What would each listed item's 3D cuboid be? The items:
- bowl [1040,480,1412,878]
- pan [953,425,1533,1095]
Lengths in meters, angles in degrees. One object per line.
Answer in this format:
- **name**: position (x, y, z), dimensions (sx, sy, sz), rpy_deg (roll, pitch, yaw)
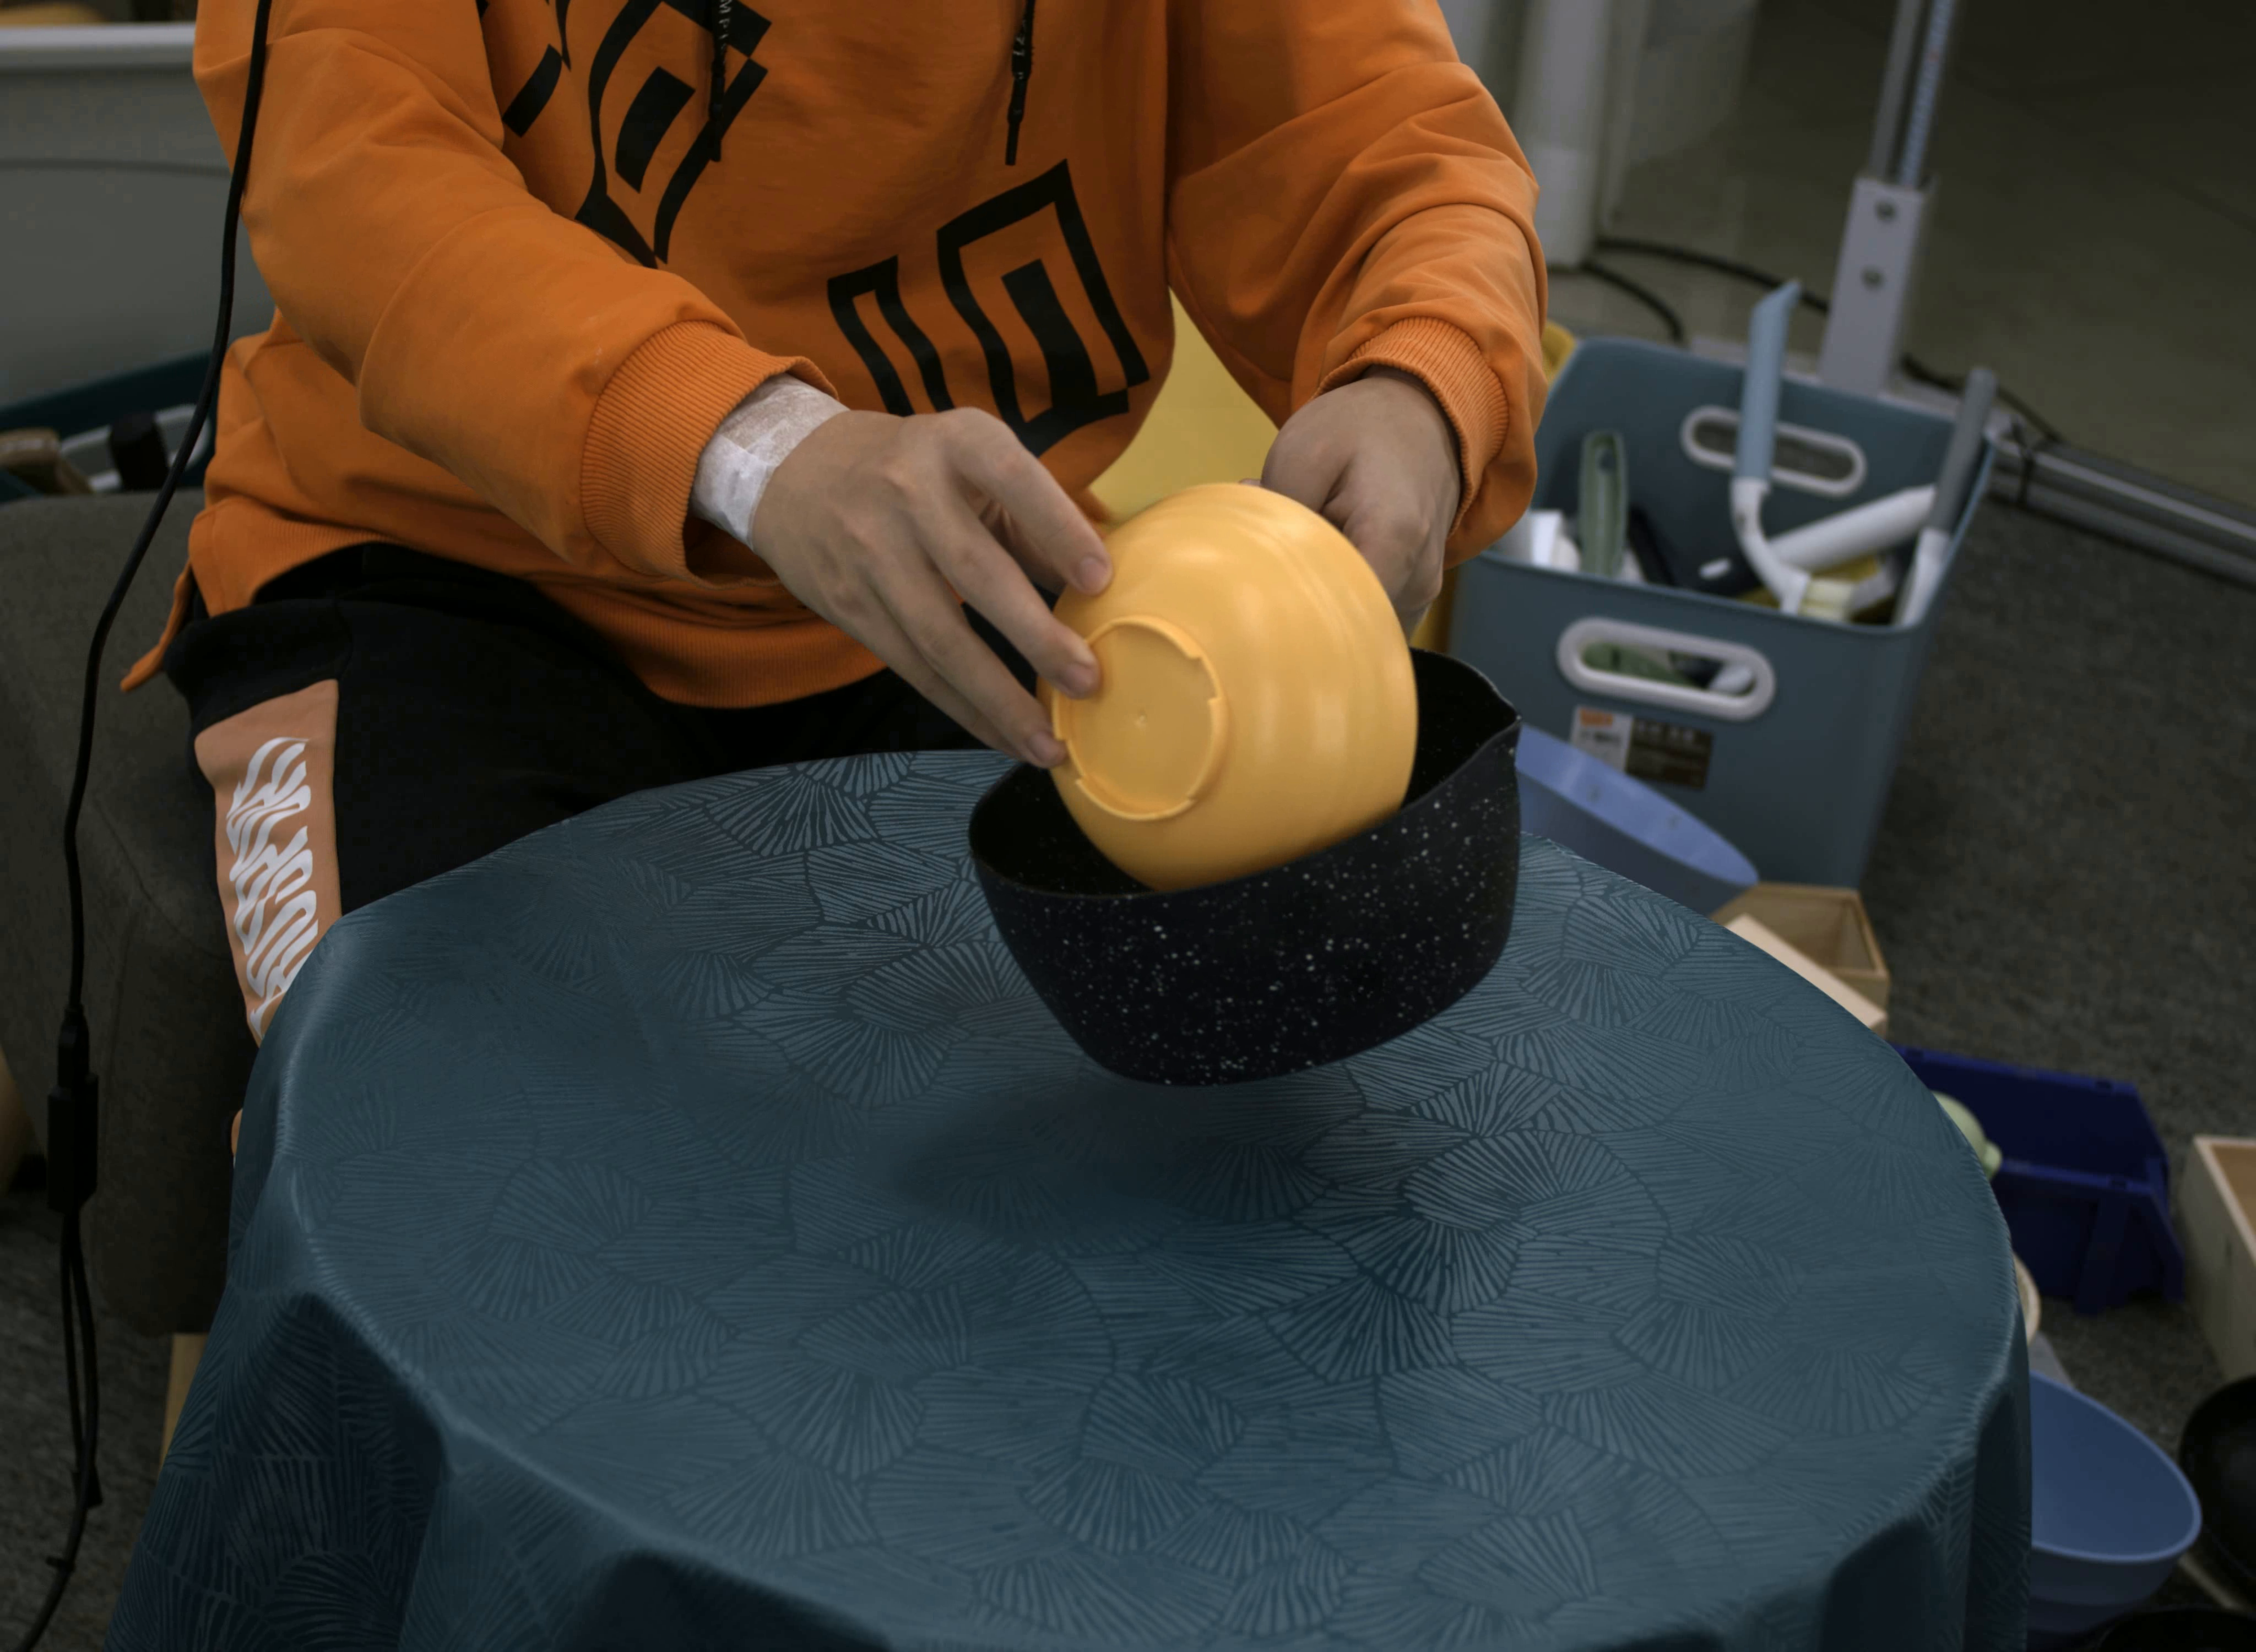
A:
- **bowl**: position (0.019, -0.038, 1.740), dimensions (0.146, 0.145, 0.060), rpy_deg (27, 27, 34)
- **pan**: position (0.054, -0.028, 1.867), dimensions (0.207, 0.108, 0.344), rpy_deg (-13, 24, 14)
